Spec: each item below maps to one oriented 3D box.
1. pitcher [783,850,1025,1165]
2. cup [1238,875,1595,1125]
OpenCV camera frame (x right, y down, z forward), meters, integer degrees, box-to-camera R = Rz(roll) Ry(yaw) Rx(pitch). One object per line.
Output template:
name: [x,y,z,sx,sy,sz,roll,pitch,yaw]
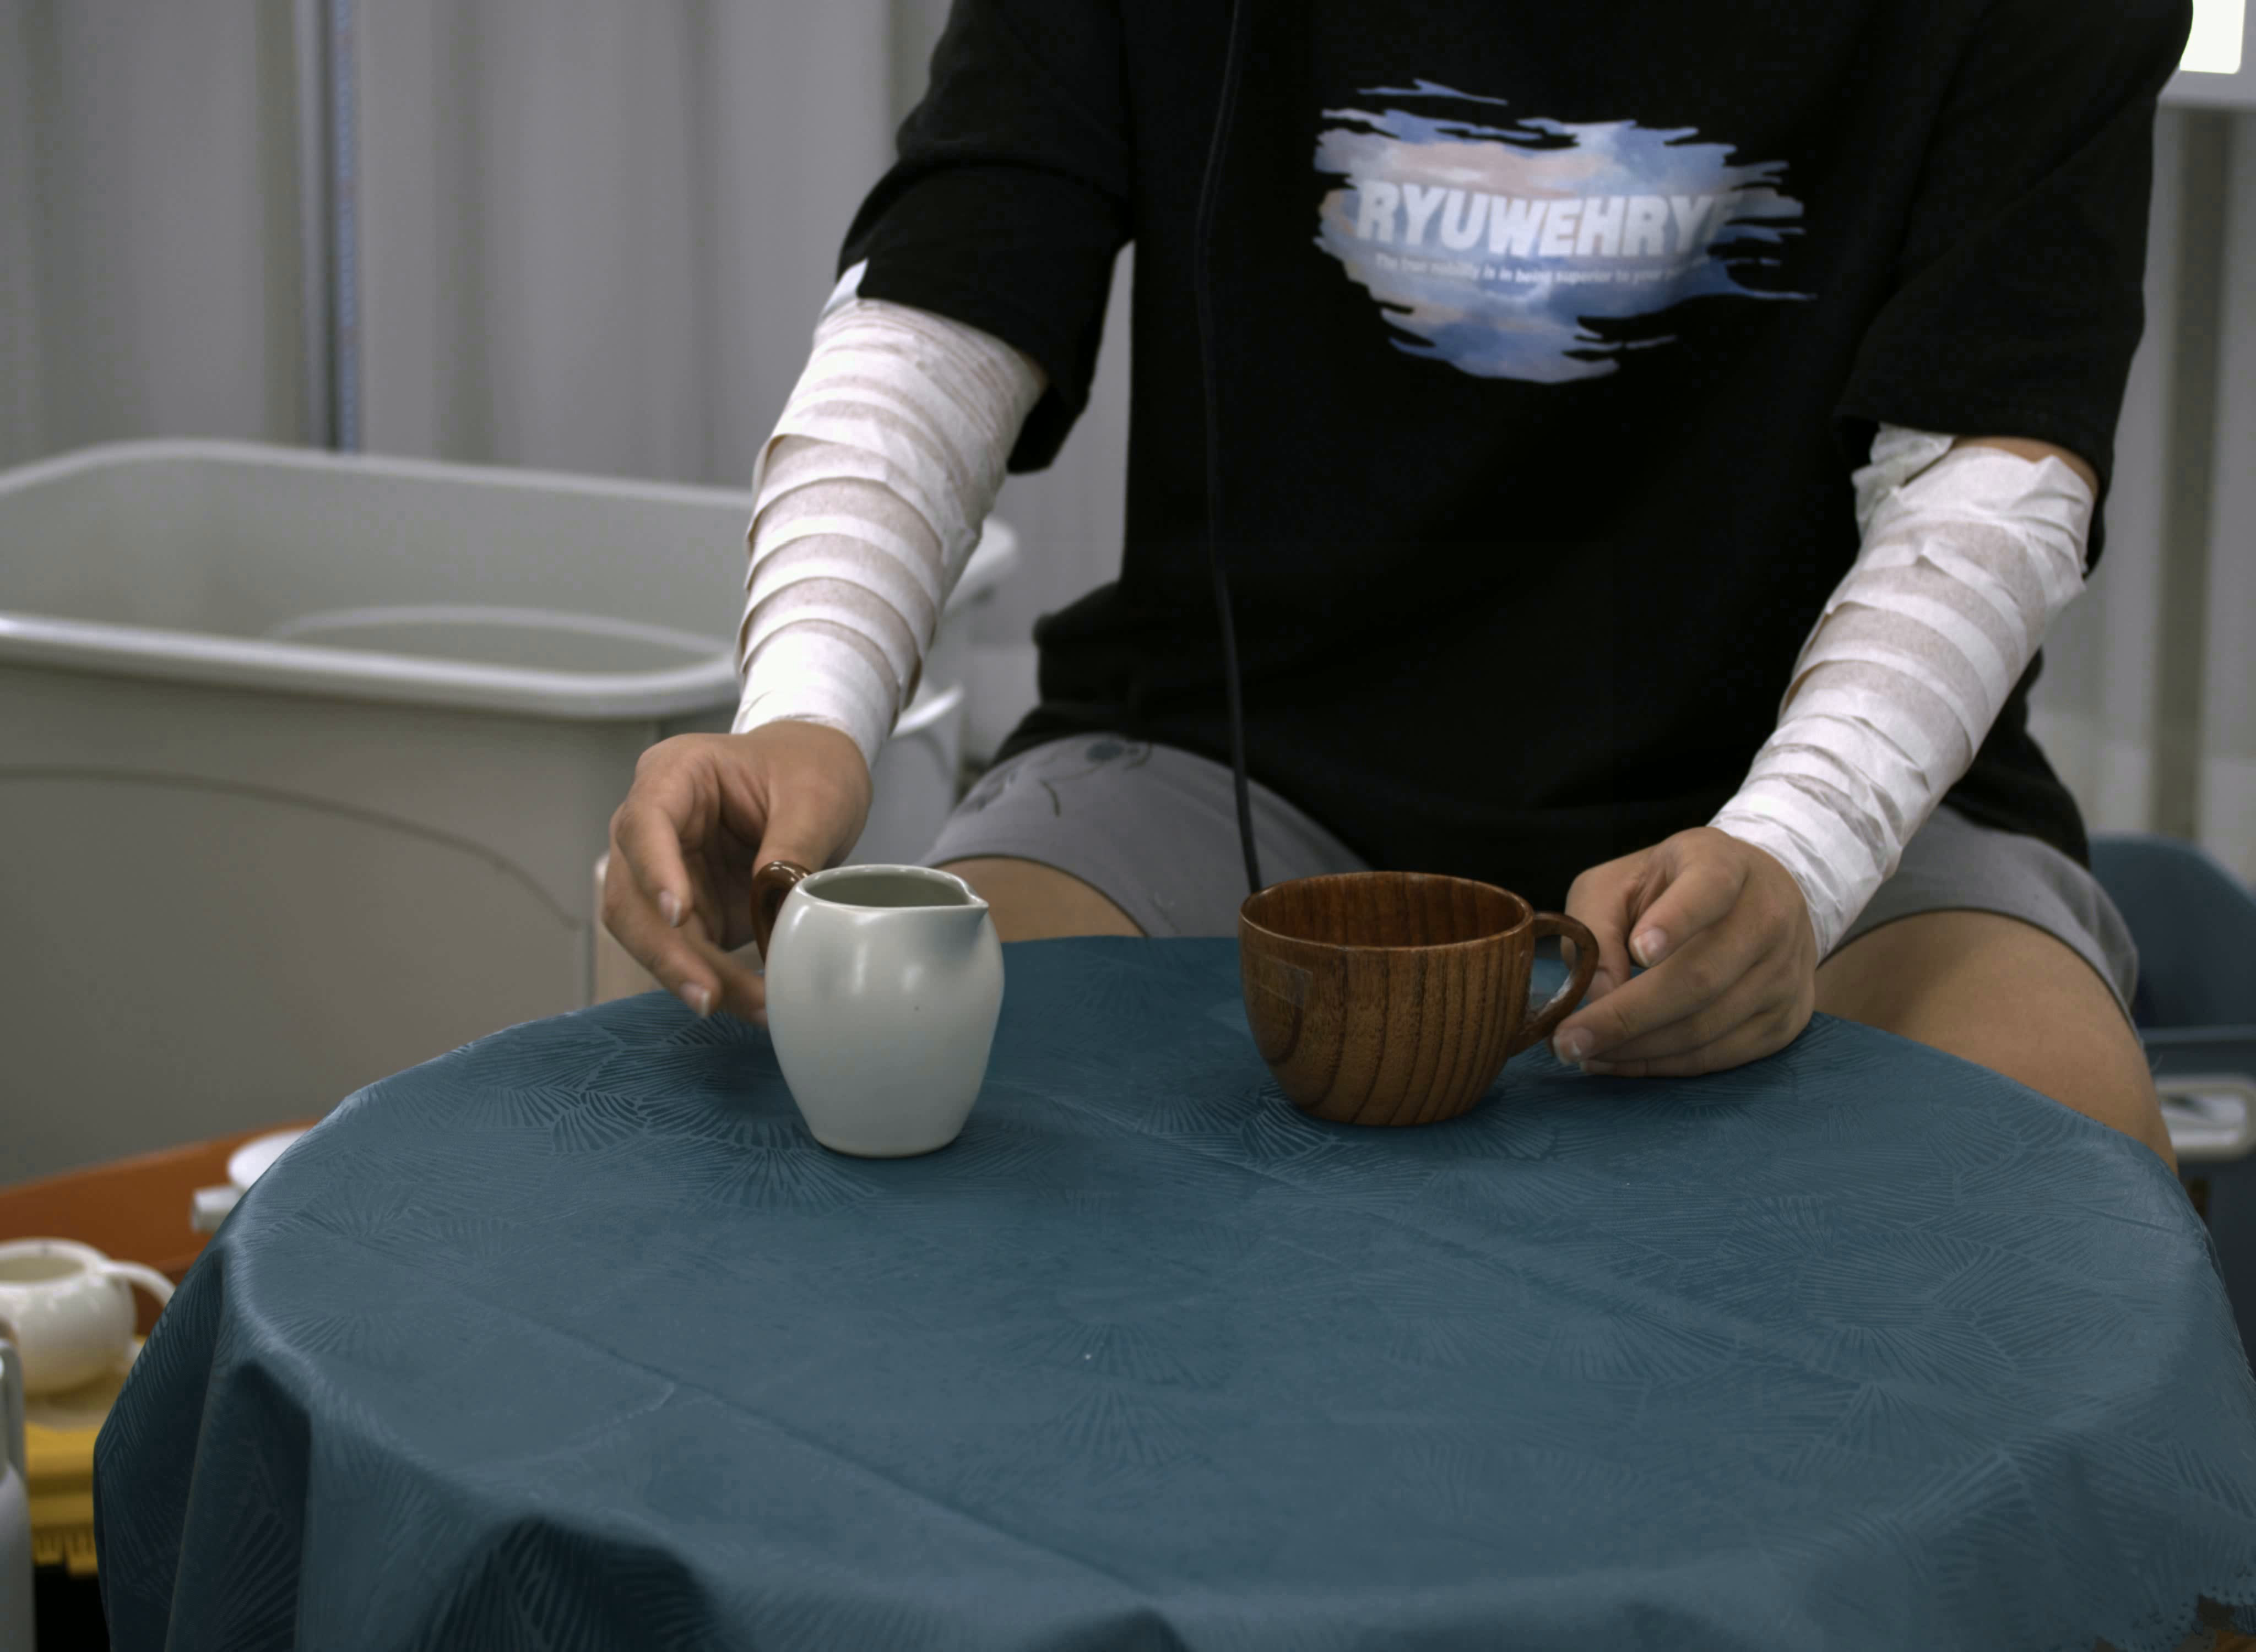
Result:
pitcher: [-0.076,0.056,1.657,0.076,0.088,0.117,-4,19,-36]
cup: [0.094,0.057,1.706,0.119,0.068,0.095,-1,12,-13]
